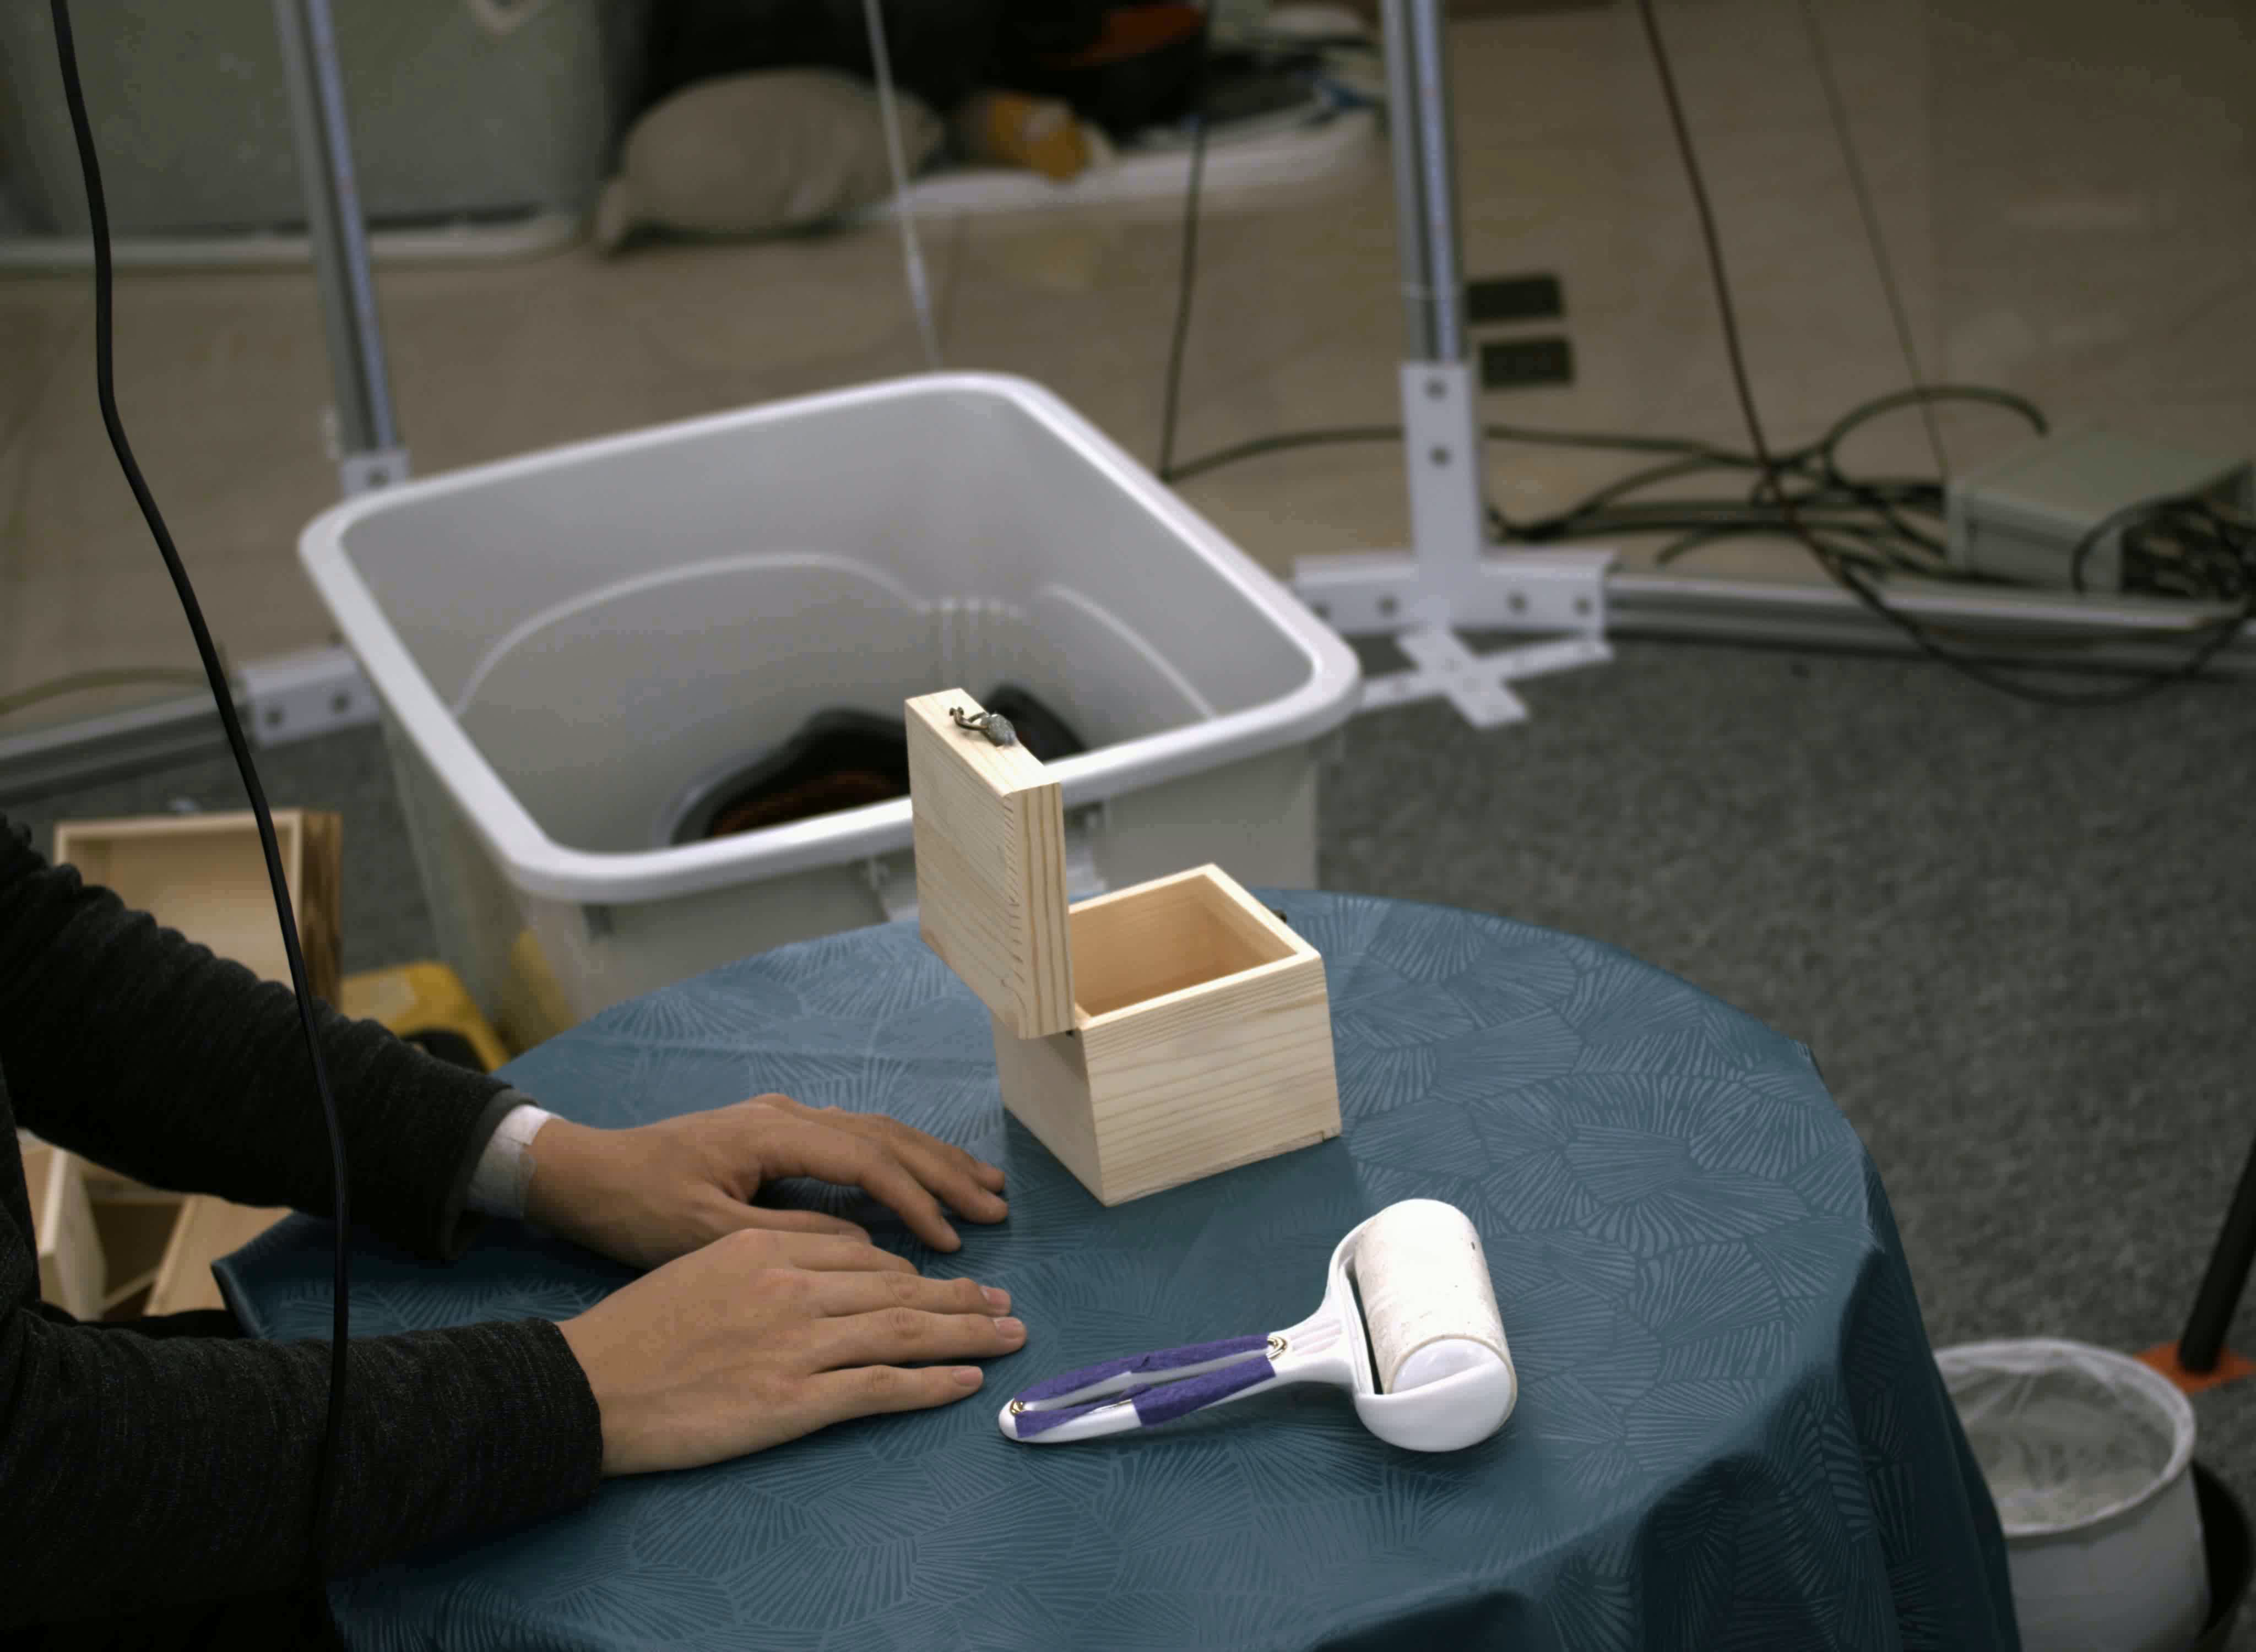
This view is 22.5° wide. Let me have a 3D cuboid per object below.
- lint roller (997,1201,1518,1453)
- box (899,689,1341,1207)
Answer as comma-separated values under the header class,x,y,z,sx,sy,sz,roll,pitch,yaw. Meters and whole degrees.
class,x,y,z,sx,sy,sz,roll,pitch,yaw
lint roller,0.042,0.181,1.991,0.180,0.051,0.131,-5,26,0
box,-0.002,0.035,2.153,0.133,0.187,0.101,-17,27,-19
